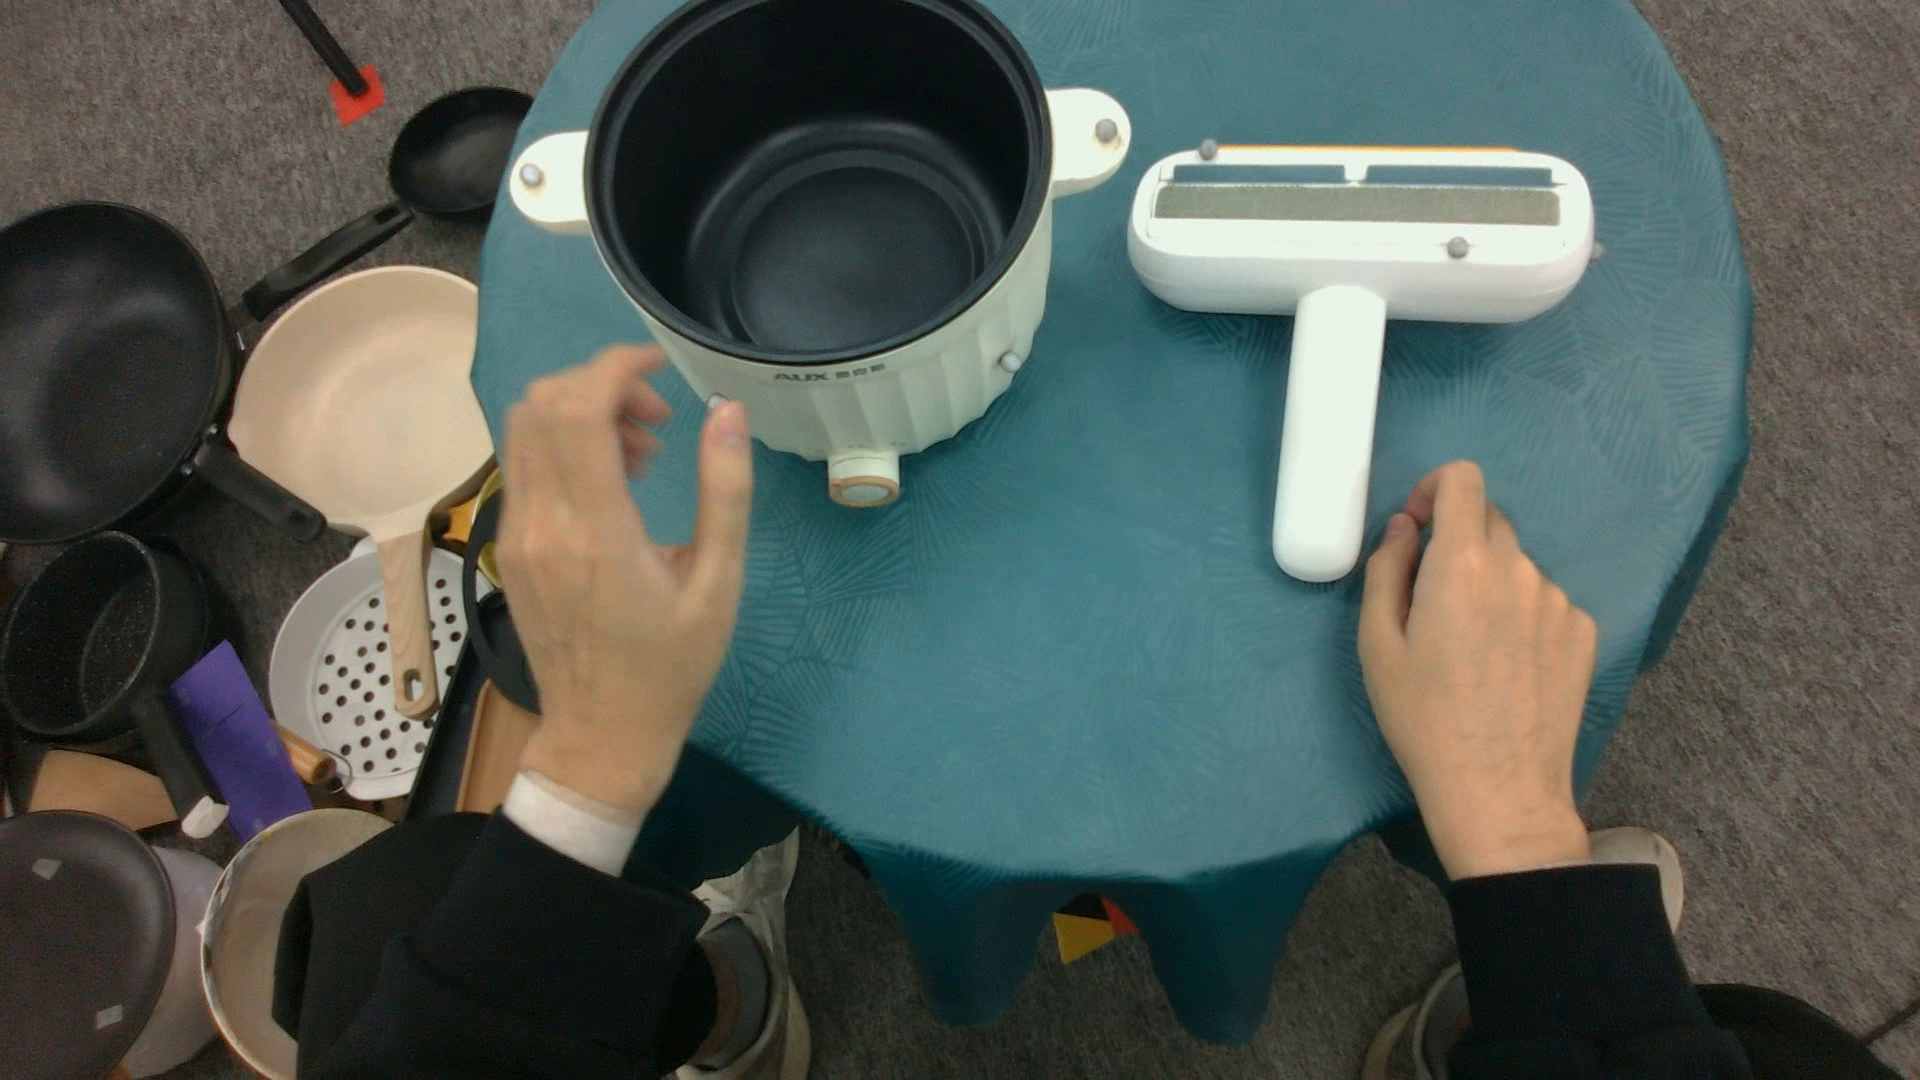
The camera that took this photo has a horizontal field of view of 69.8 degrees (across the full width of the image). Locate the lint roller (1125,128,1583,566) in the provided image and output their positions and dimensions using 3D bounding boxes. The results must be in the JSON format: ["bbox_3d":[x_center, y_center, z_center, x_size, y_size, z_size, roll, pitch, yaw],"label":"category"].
[{"bbox_3d":[0.157,-0.085,0.596,0.193,0.074,0.193,10,73,12],"label":"lint roller"}]

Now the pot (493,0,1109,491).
[{"bbox_3d":[-0.056,-0.129,0.588,0.240,0.142,0.191,-6,68,3],"label":"pot"}]
